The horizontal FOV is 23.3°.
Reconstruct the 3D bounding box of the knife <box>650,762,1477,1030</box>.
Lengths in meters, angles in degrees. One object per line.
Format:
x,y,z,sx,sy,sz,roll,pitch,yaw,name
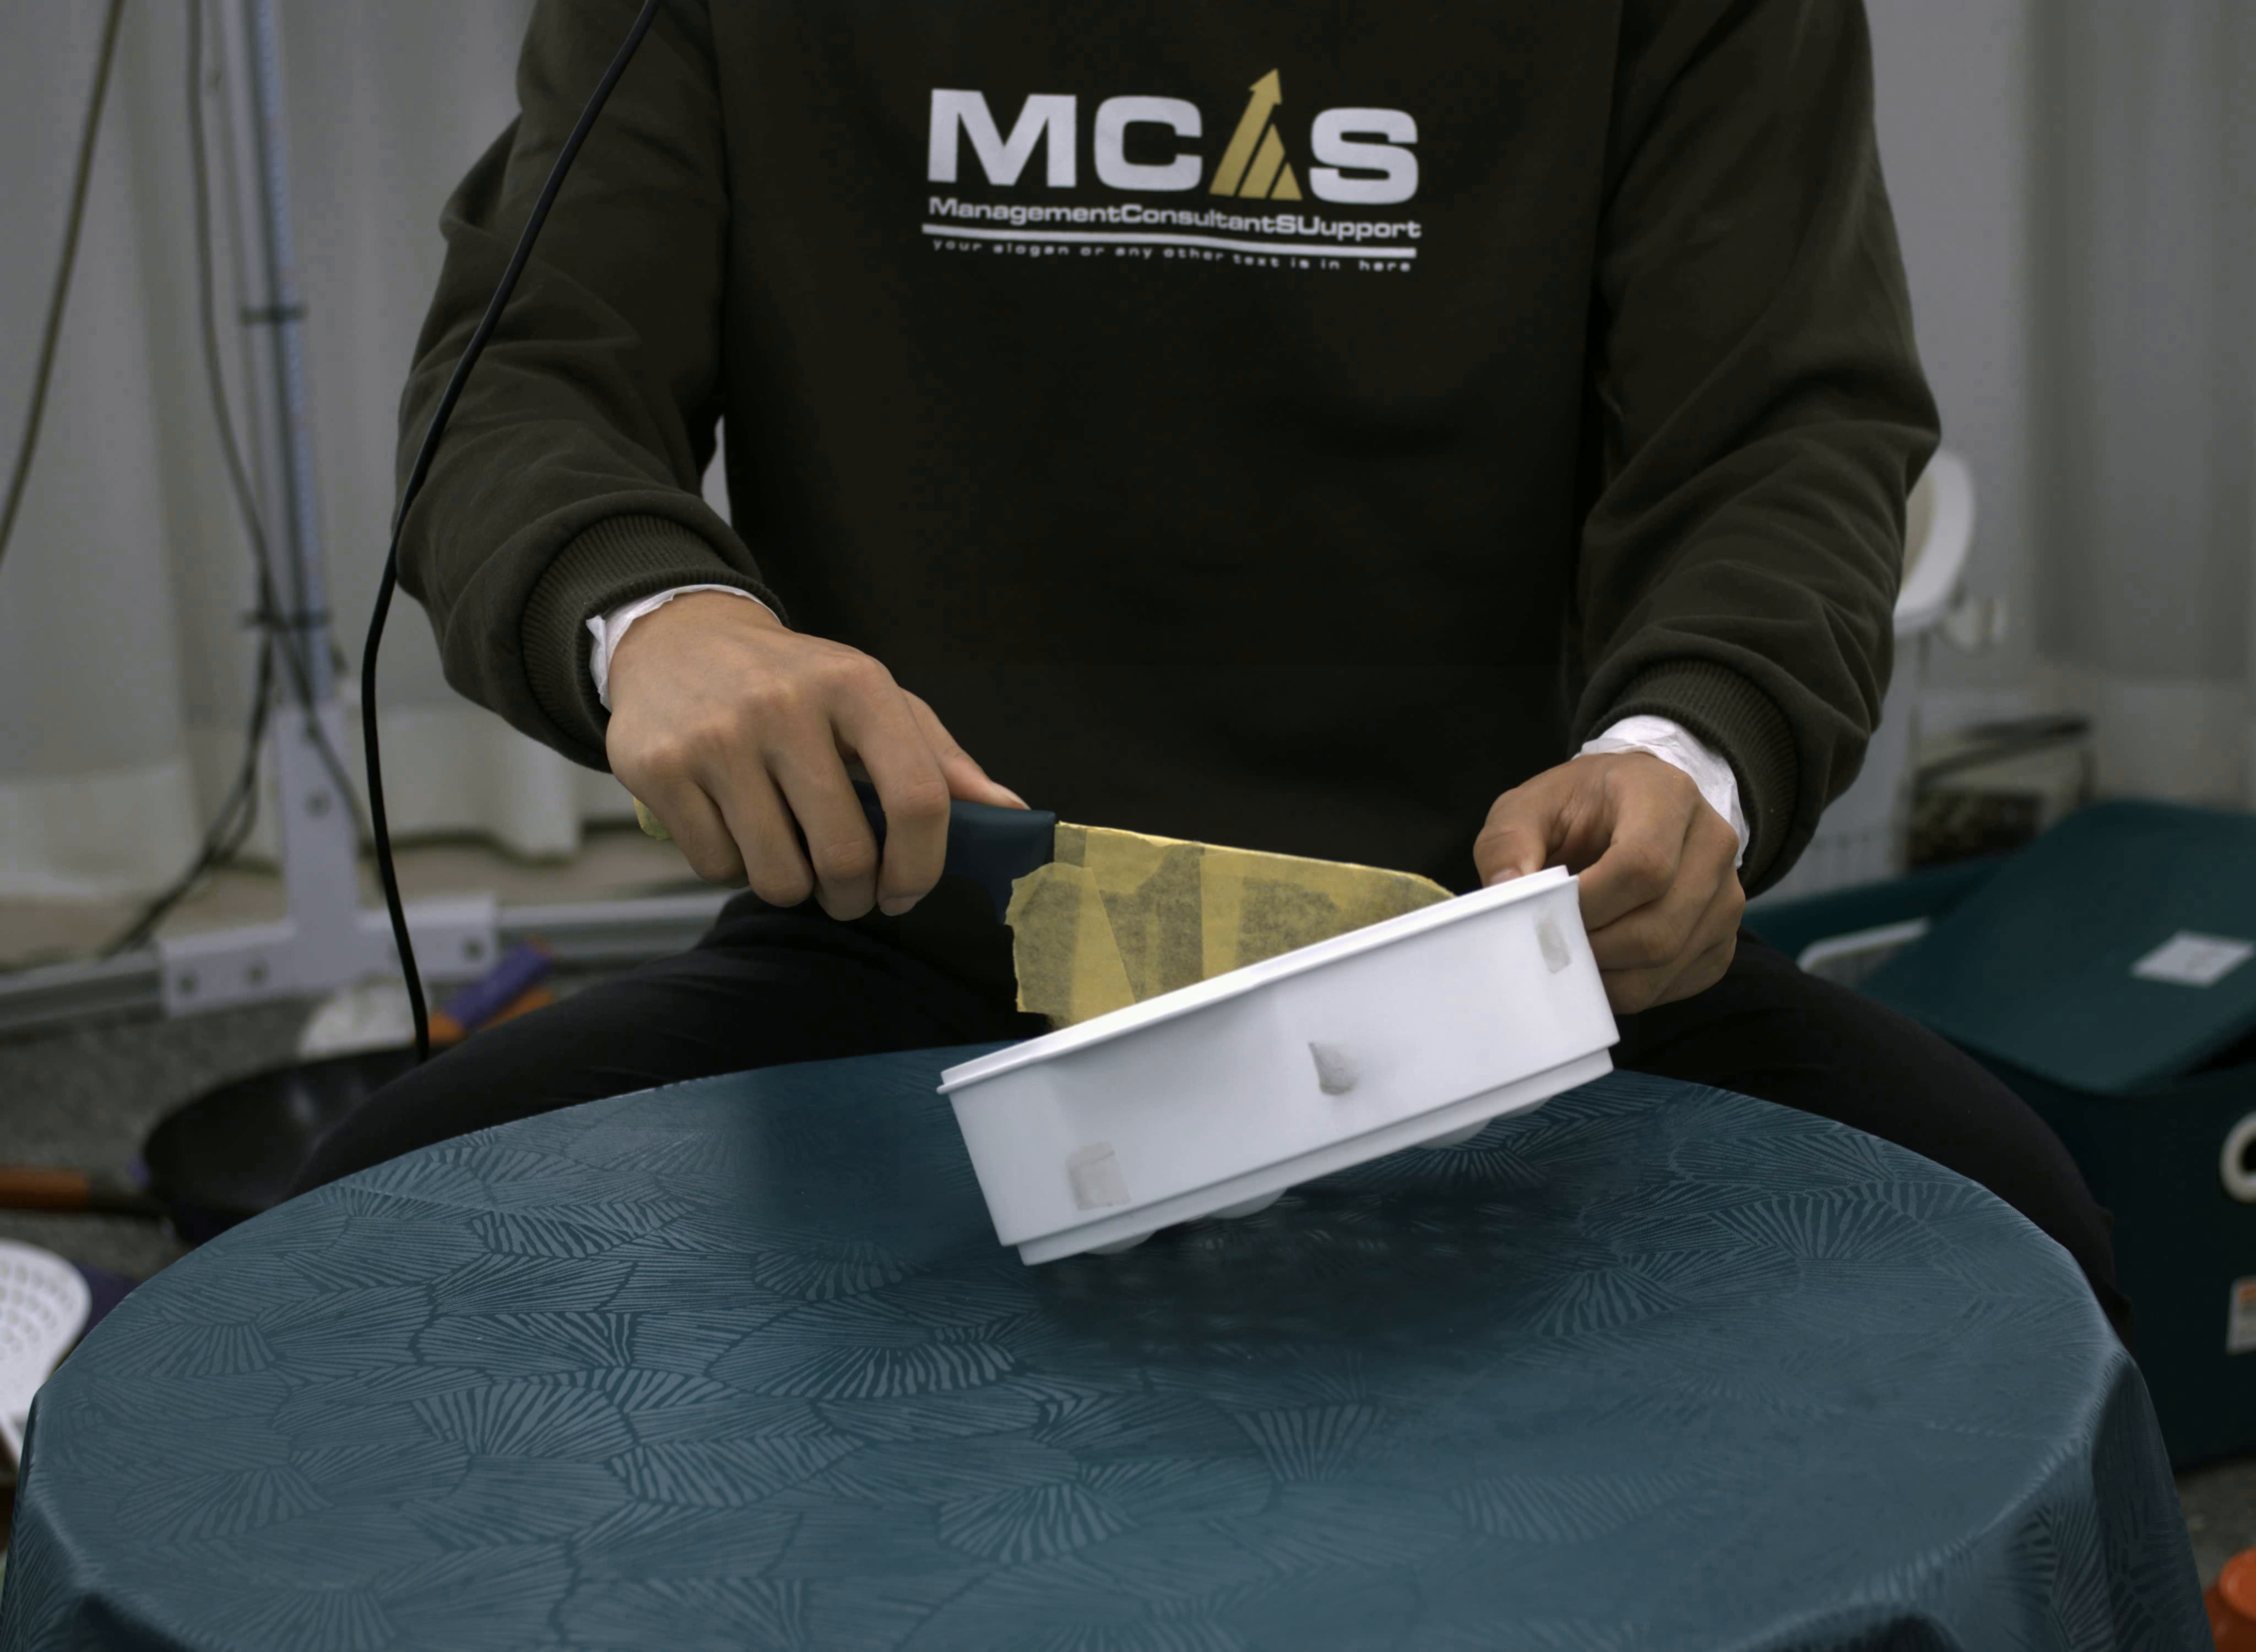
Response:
-0.011,0.027,1.661,0.290,0.080,0.027,12,29,16,knife

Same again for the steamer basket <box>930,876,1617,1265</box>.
0.046,0.075,1.615,0.201,0.069,0.230,-19,-4,22,steamer basket
